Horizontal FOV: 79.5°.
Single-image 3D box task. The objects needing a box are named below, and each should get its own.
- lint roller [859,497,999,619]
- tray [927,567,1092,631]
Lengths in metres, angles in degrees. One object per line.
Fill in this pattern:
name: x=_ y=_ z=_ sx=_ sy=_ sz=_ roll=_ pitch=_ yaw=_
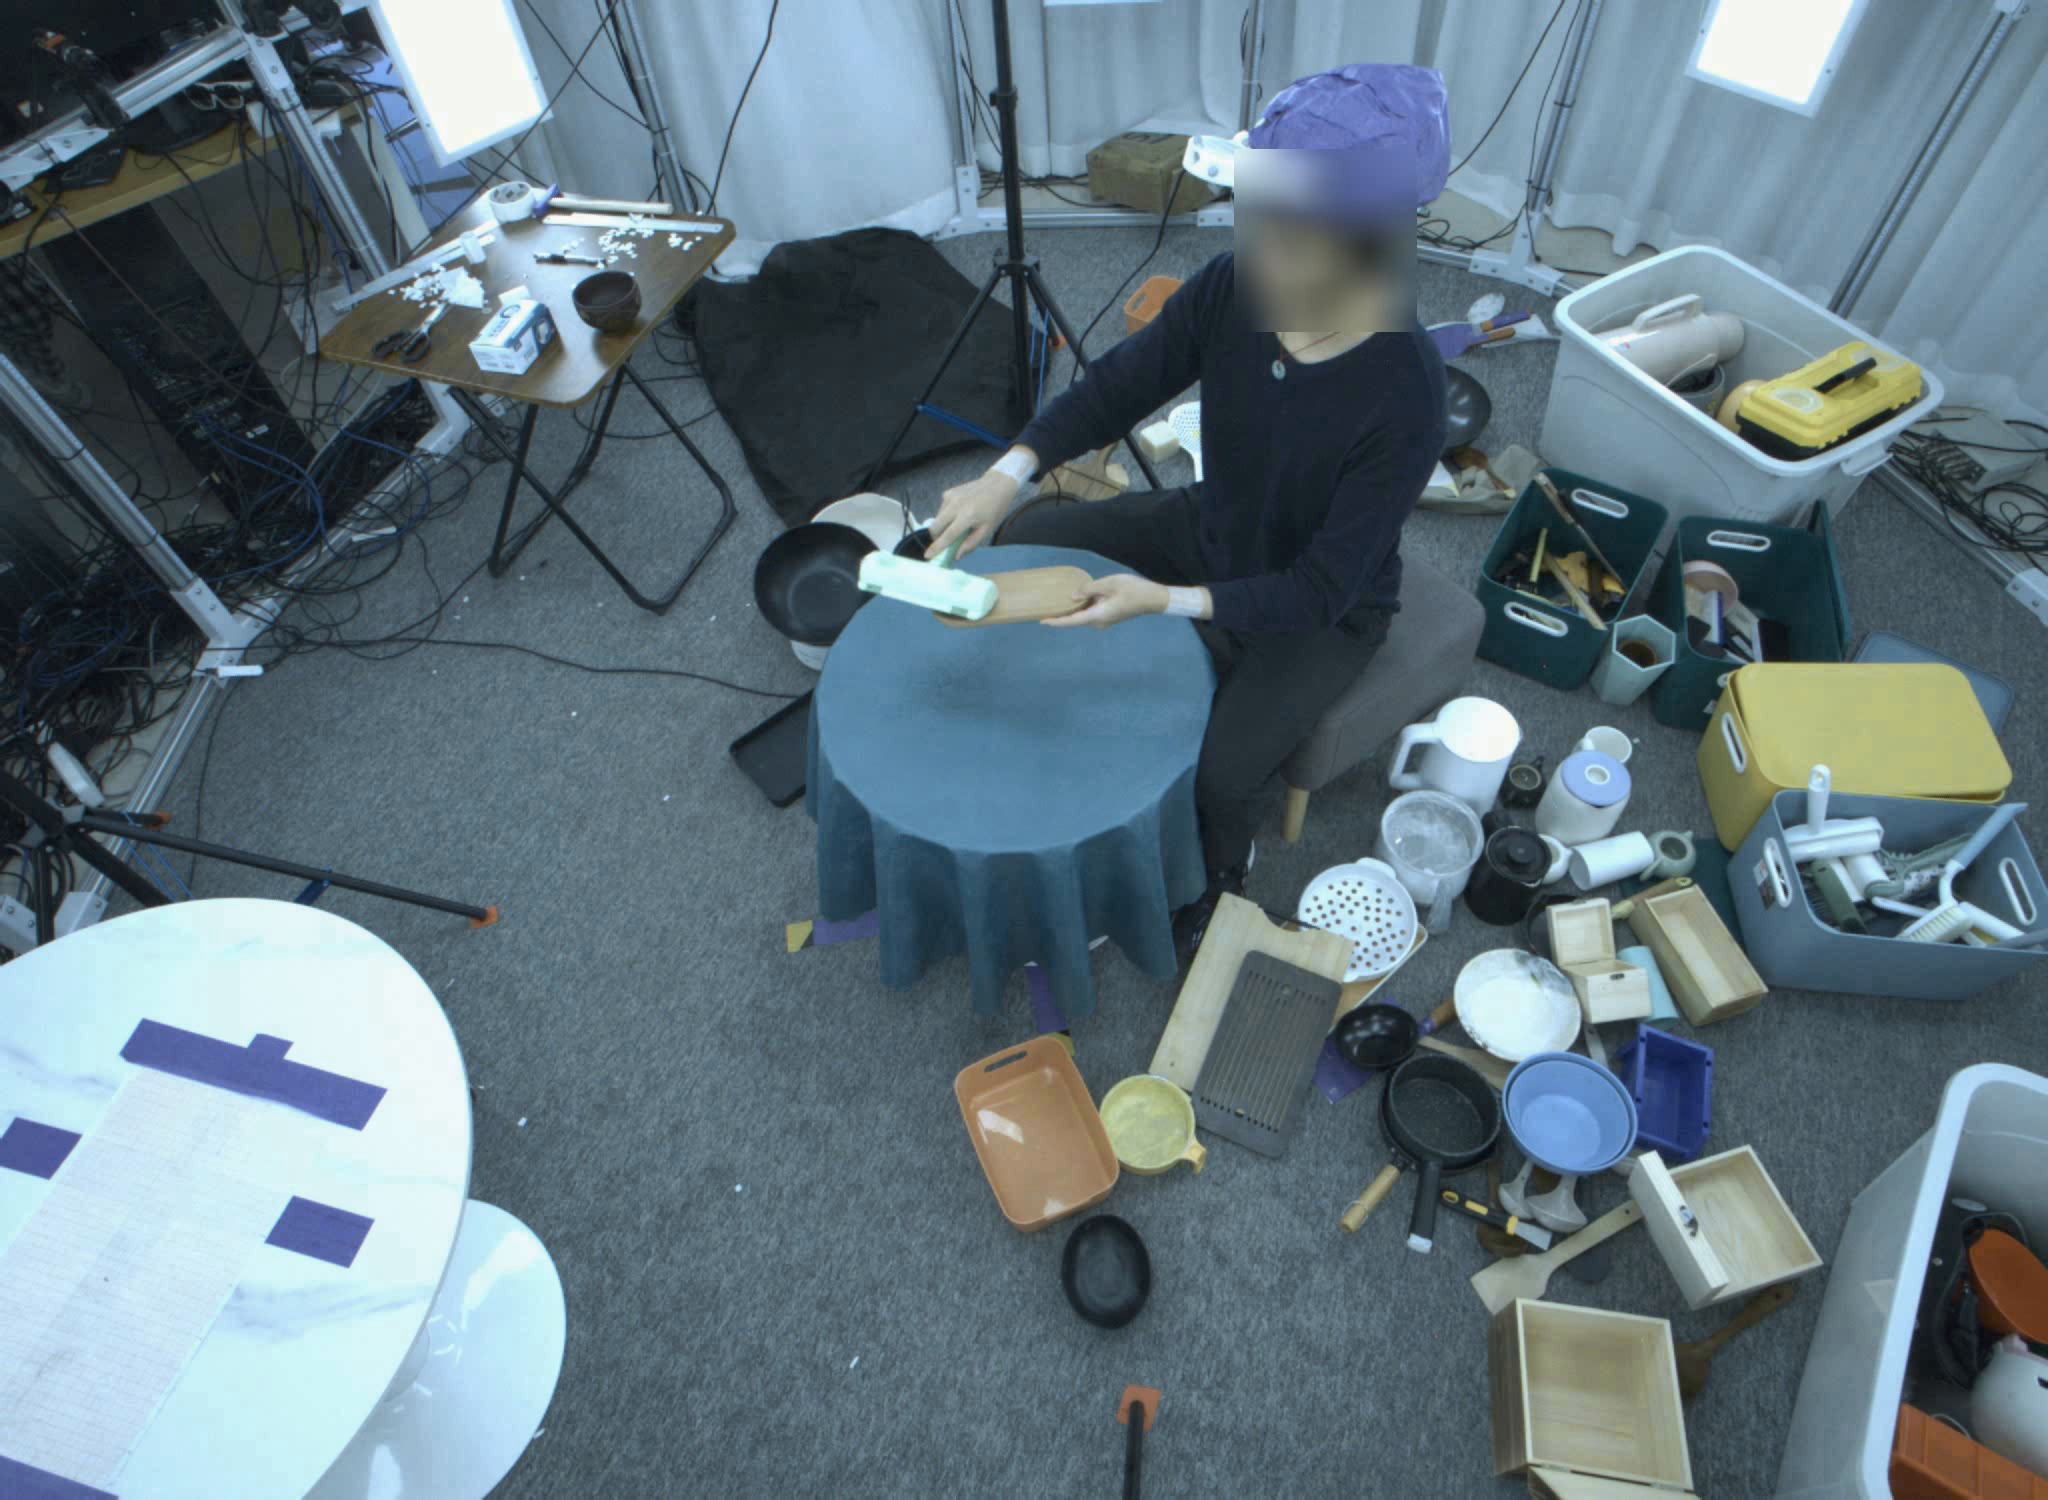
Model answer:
lint roller: x=-0.117 y=-0.285 z=1.701 sx=0.196 sy=0.083 sz=0.183 roll=17 pitch=80 yaw=17
tray: x=-0.021 y=-0.209 z=1.706 sx=0.230 sy=0.020 sz=0.100 roll=-7 pitch=46 yaw=5
